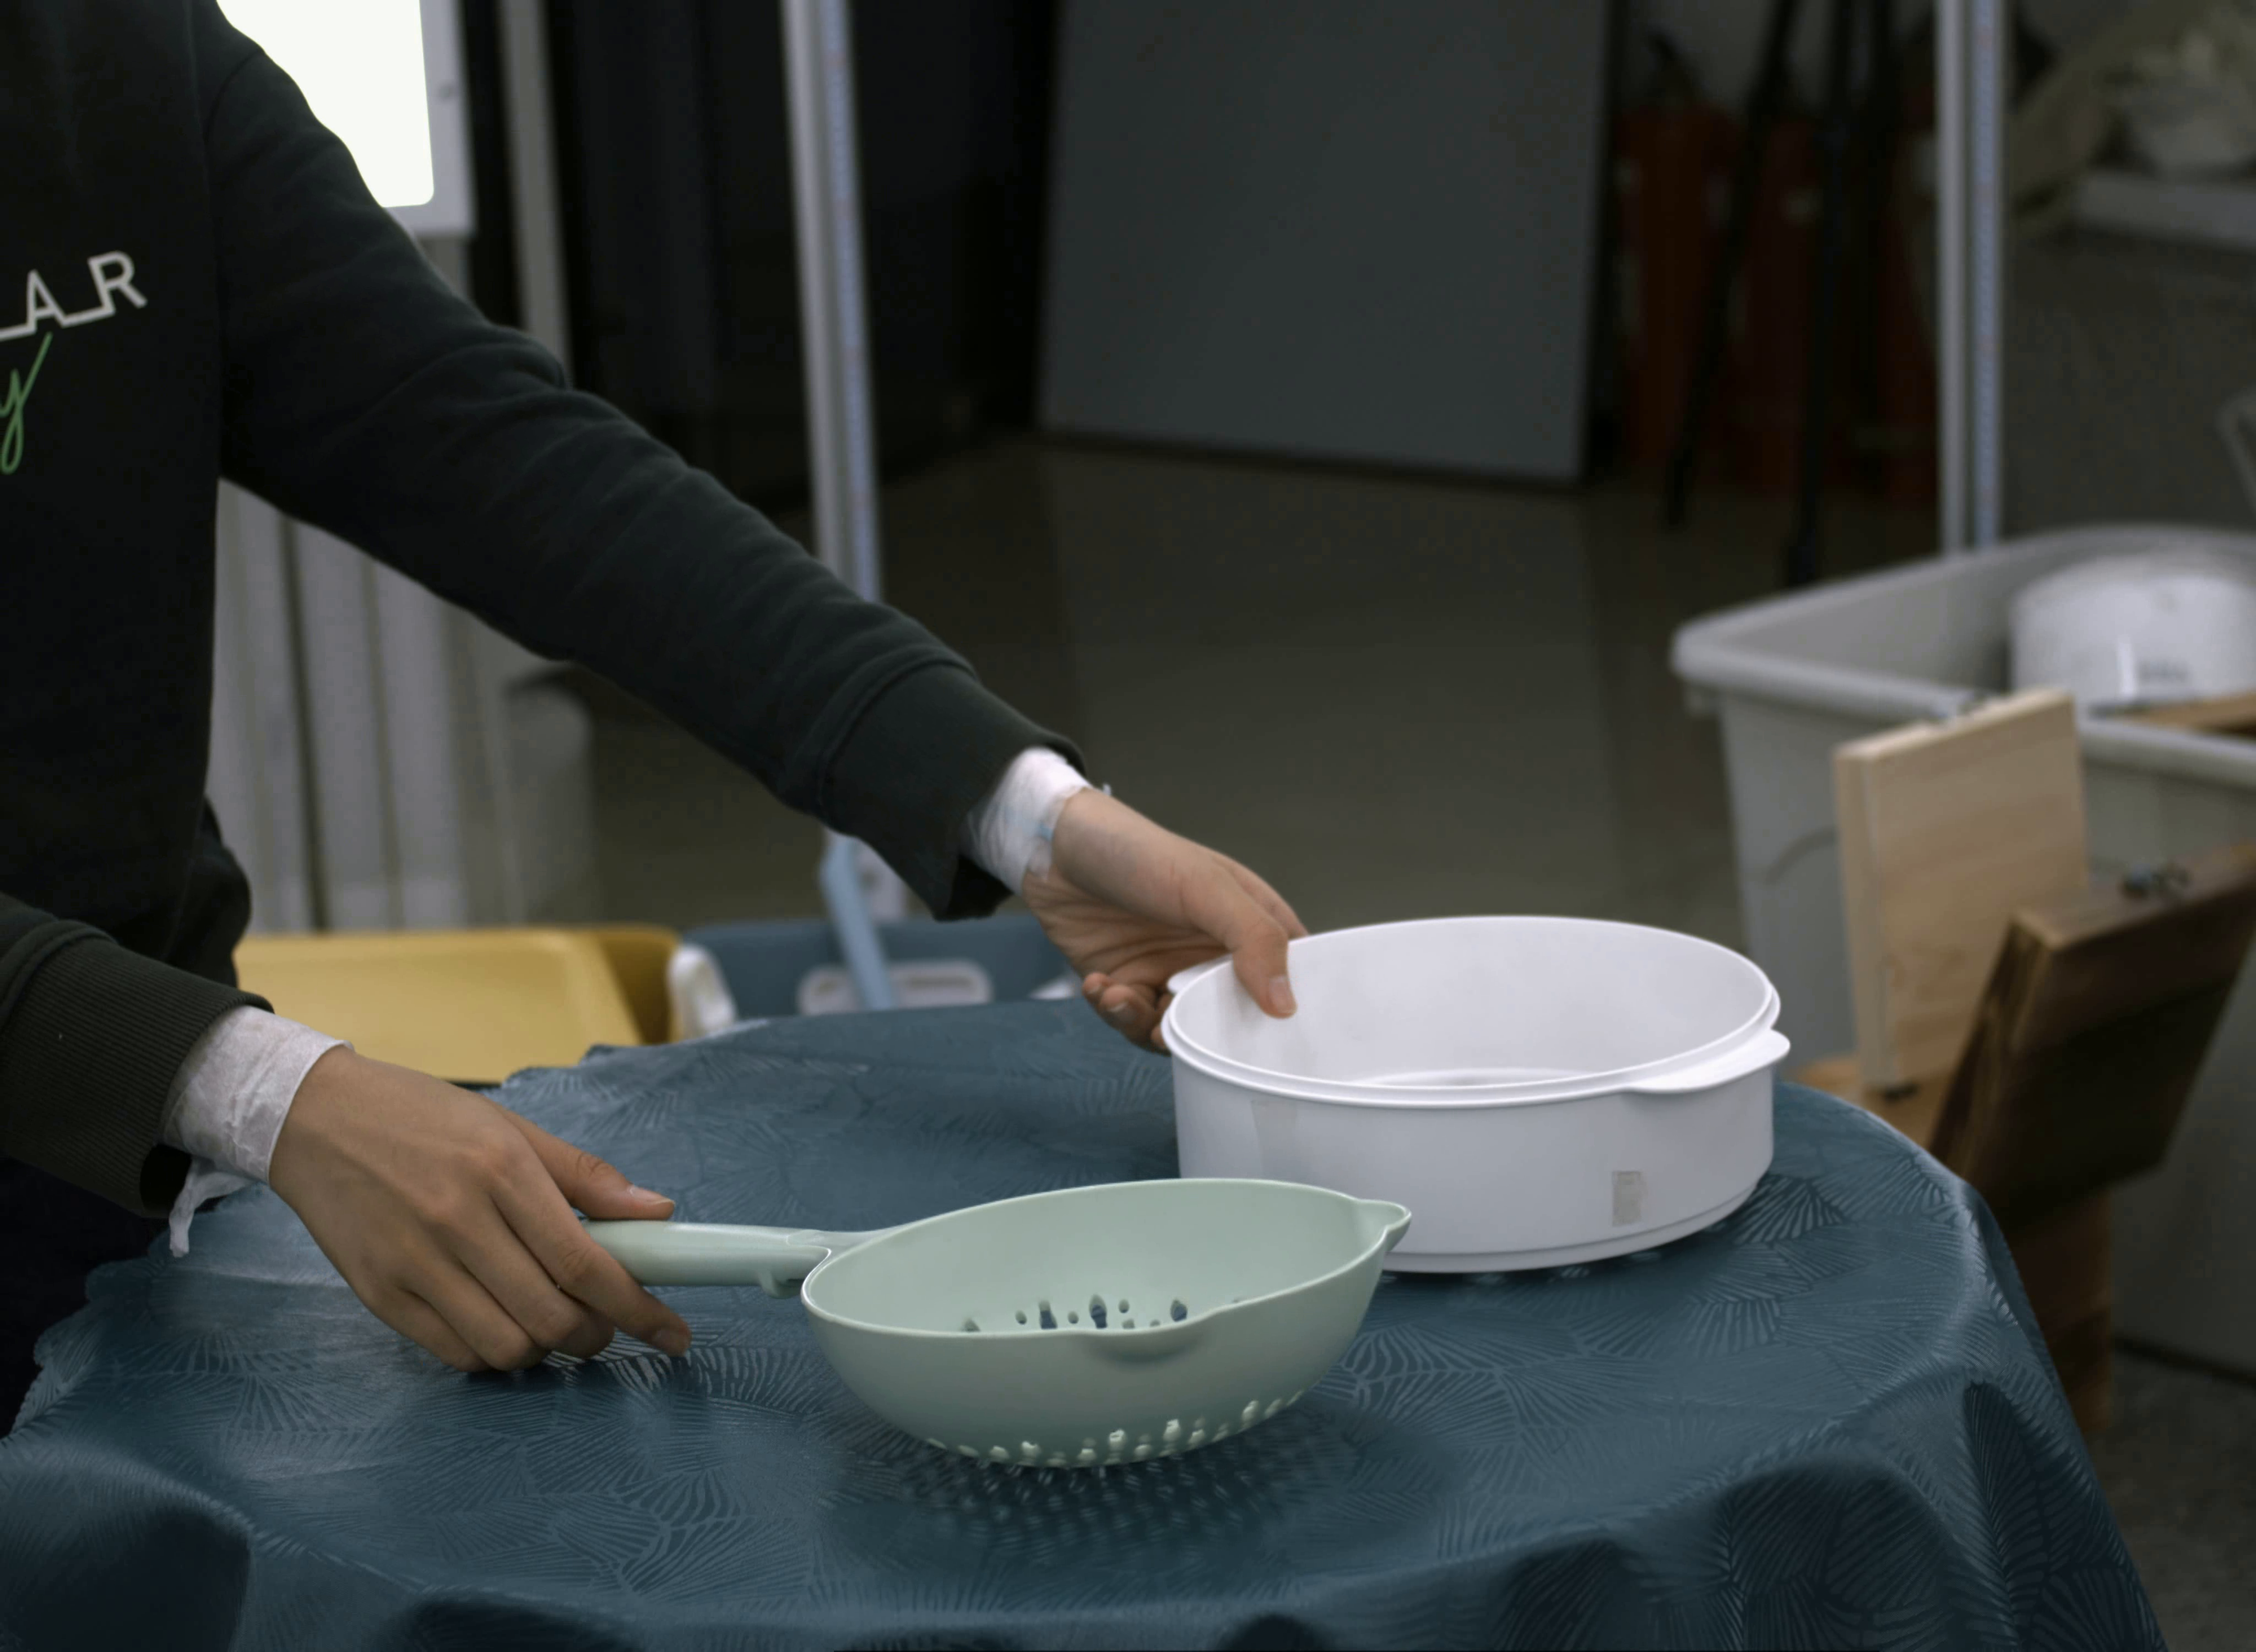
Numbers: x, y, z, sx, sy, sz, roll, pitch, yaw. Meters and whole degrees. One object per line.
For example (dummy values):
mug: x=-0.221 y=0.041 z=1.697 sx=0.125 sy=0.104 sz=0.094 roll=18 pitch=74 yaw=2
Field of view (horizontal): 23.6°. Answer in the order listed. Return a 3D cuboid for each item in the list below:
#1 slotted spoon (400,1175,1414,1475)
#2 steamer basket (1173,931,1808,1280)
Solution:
slotted spoon: x=-0.084 y=0.134 z=1.594 sx=0.361 sy=0.076 sz=0.166 roll=9 pitch=16 yaw=36
steamer basket: x=0.115 y=0.089 z=1.733 sx=0.232 sy=0.070 sz=0.198 roll=8 pitch=18 yaw=43
